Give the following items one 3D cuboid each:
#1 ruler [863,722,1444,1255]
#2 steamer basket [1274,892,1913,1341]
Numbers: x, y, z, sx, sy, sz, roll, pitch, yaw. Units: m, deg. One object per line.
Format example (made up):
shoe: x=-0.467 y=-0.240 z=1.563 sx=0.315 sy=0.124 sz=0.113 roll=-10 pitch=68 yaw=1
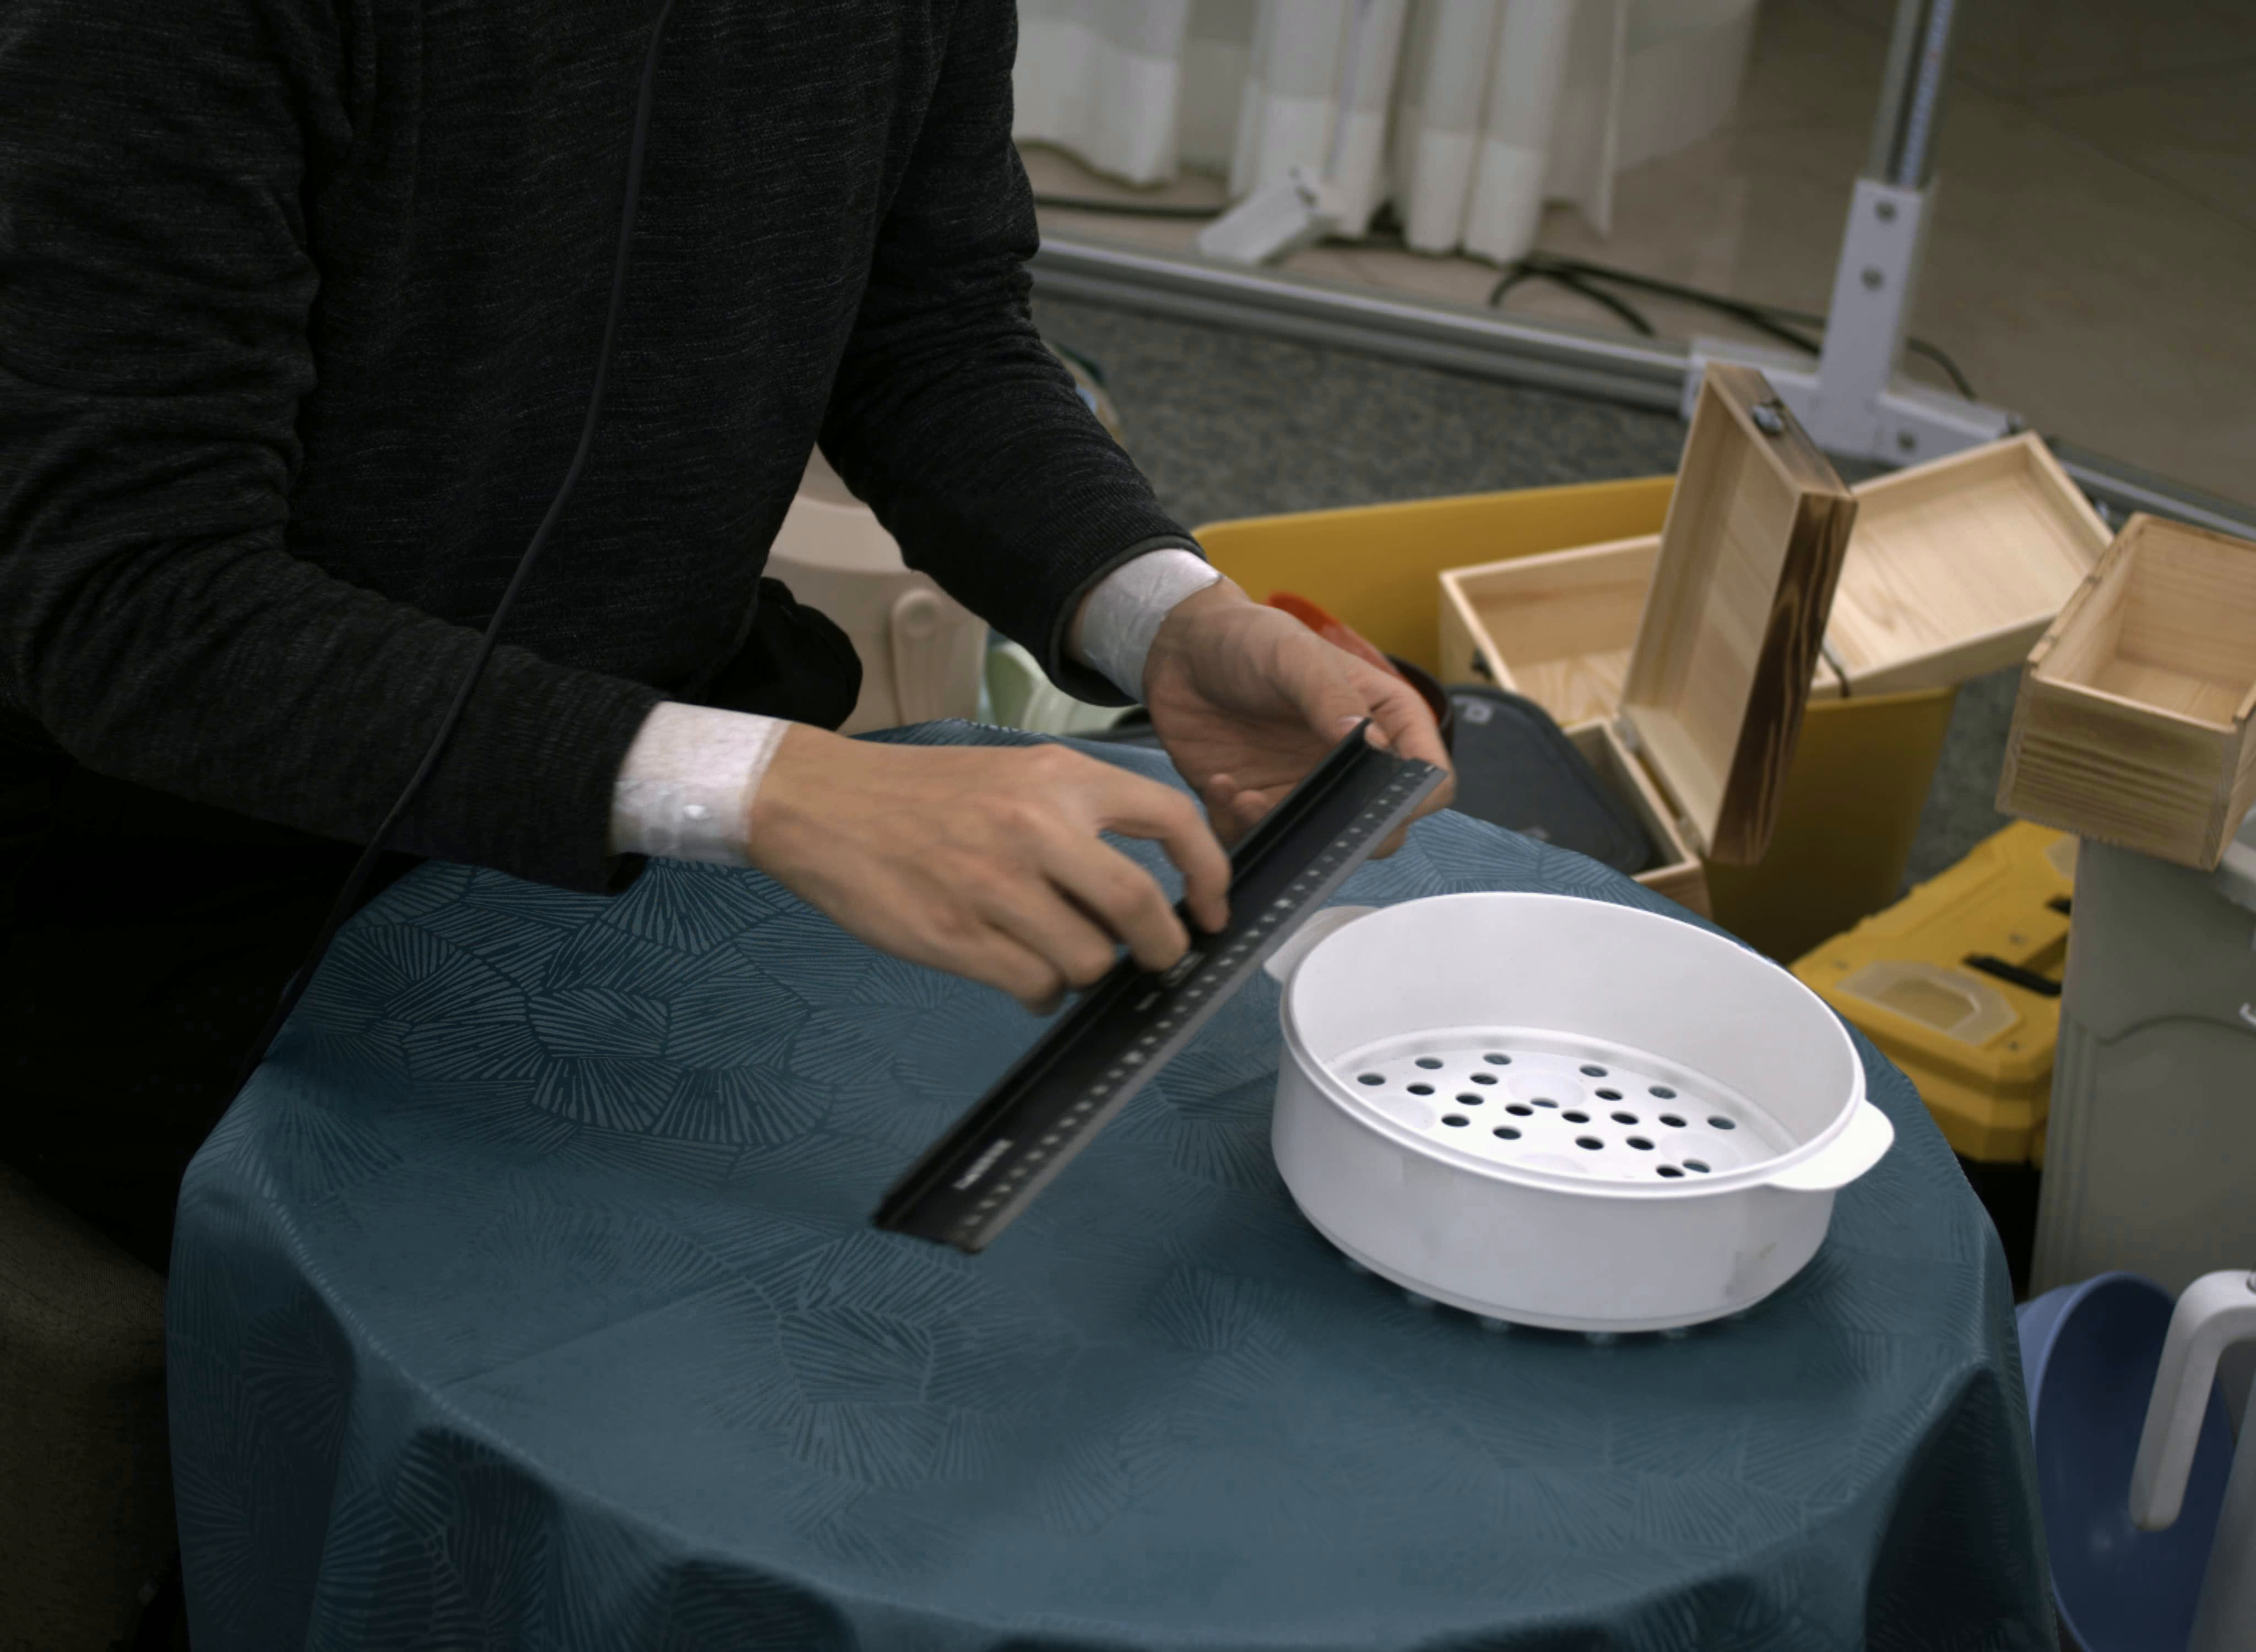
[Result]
ruler: x=0.013 y=0.047 z=1.718 sx=0.039 sy=0.017 sz=0.312 roll=17 pitch=37 yaw=27
steamer basket: x=0.151 y=0.099 z=1.808 sx=0.232 sy=0.069 sz=0.201 roll=24 pitch=31 yaw=26
